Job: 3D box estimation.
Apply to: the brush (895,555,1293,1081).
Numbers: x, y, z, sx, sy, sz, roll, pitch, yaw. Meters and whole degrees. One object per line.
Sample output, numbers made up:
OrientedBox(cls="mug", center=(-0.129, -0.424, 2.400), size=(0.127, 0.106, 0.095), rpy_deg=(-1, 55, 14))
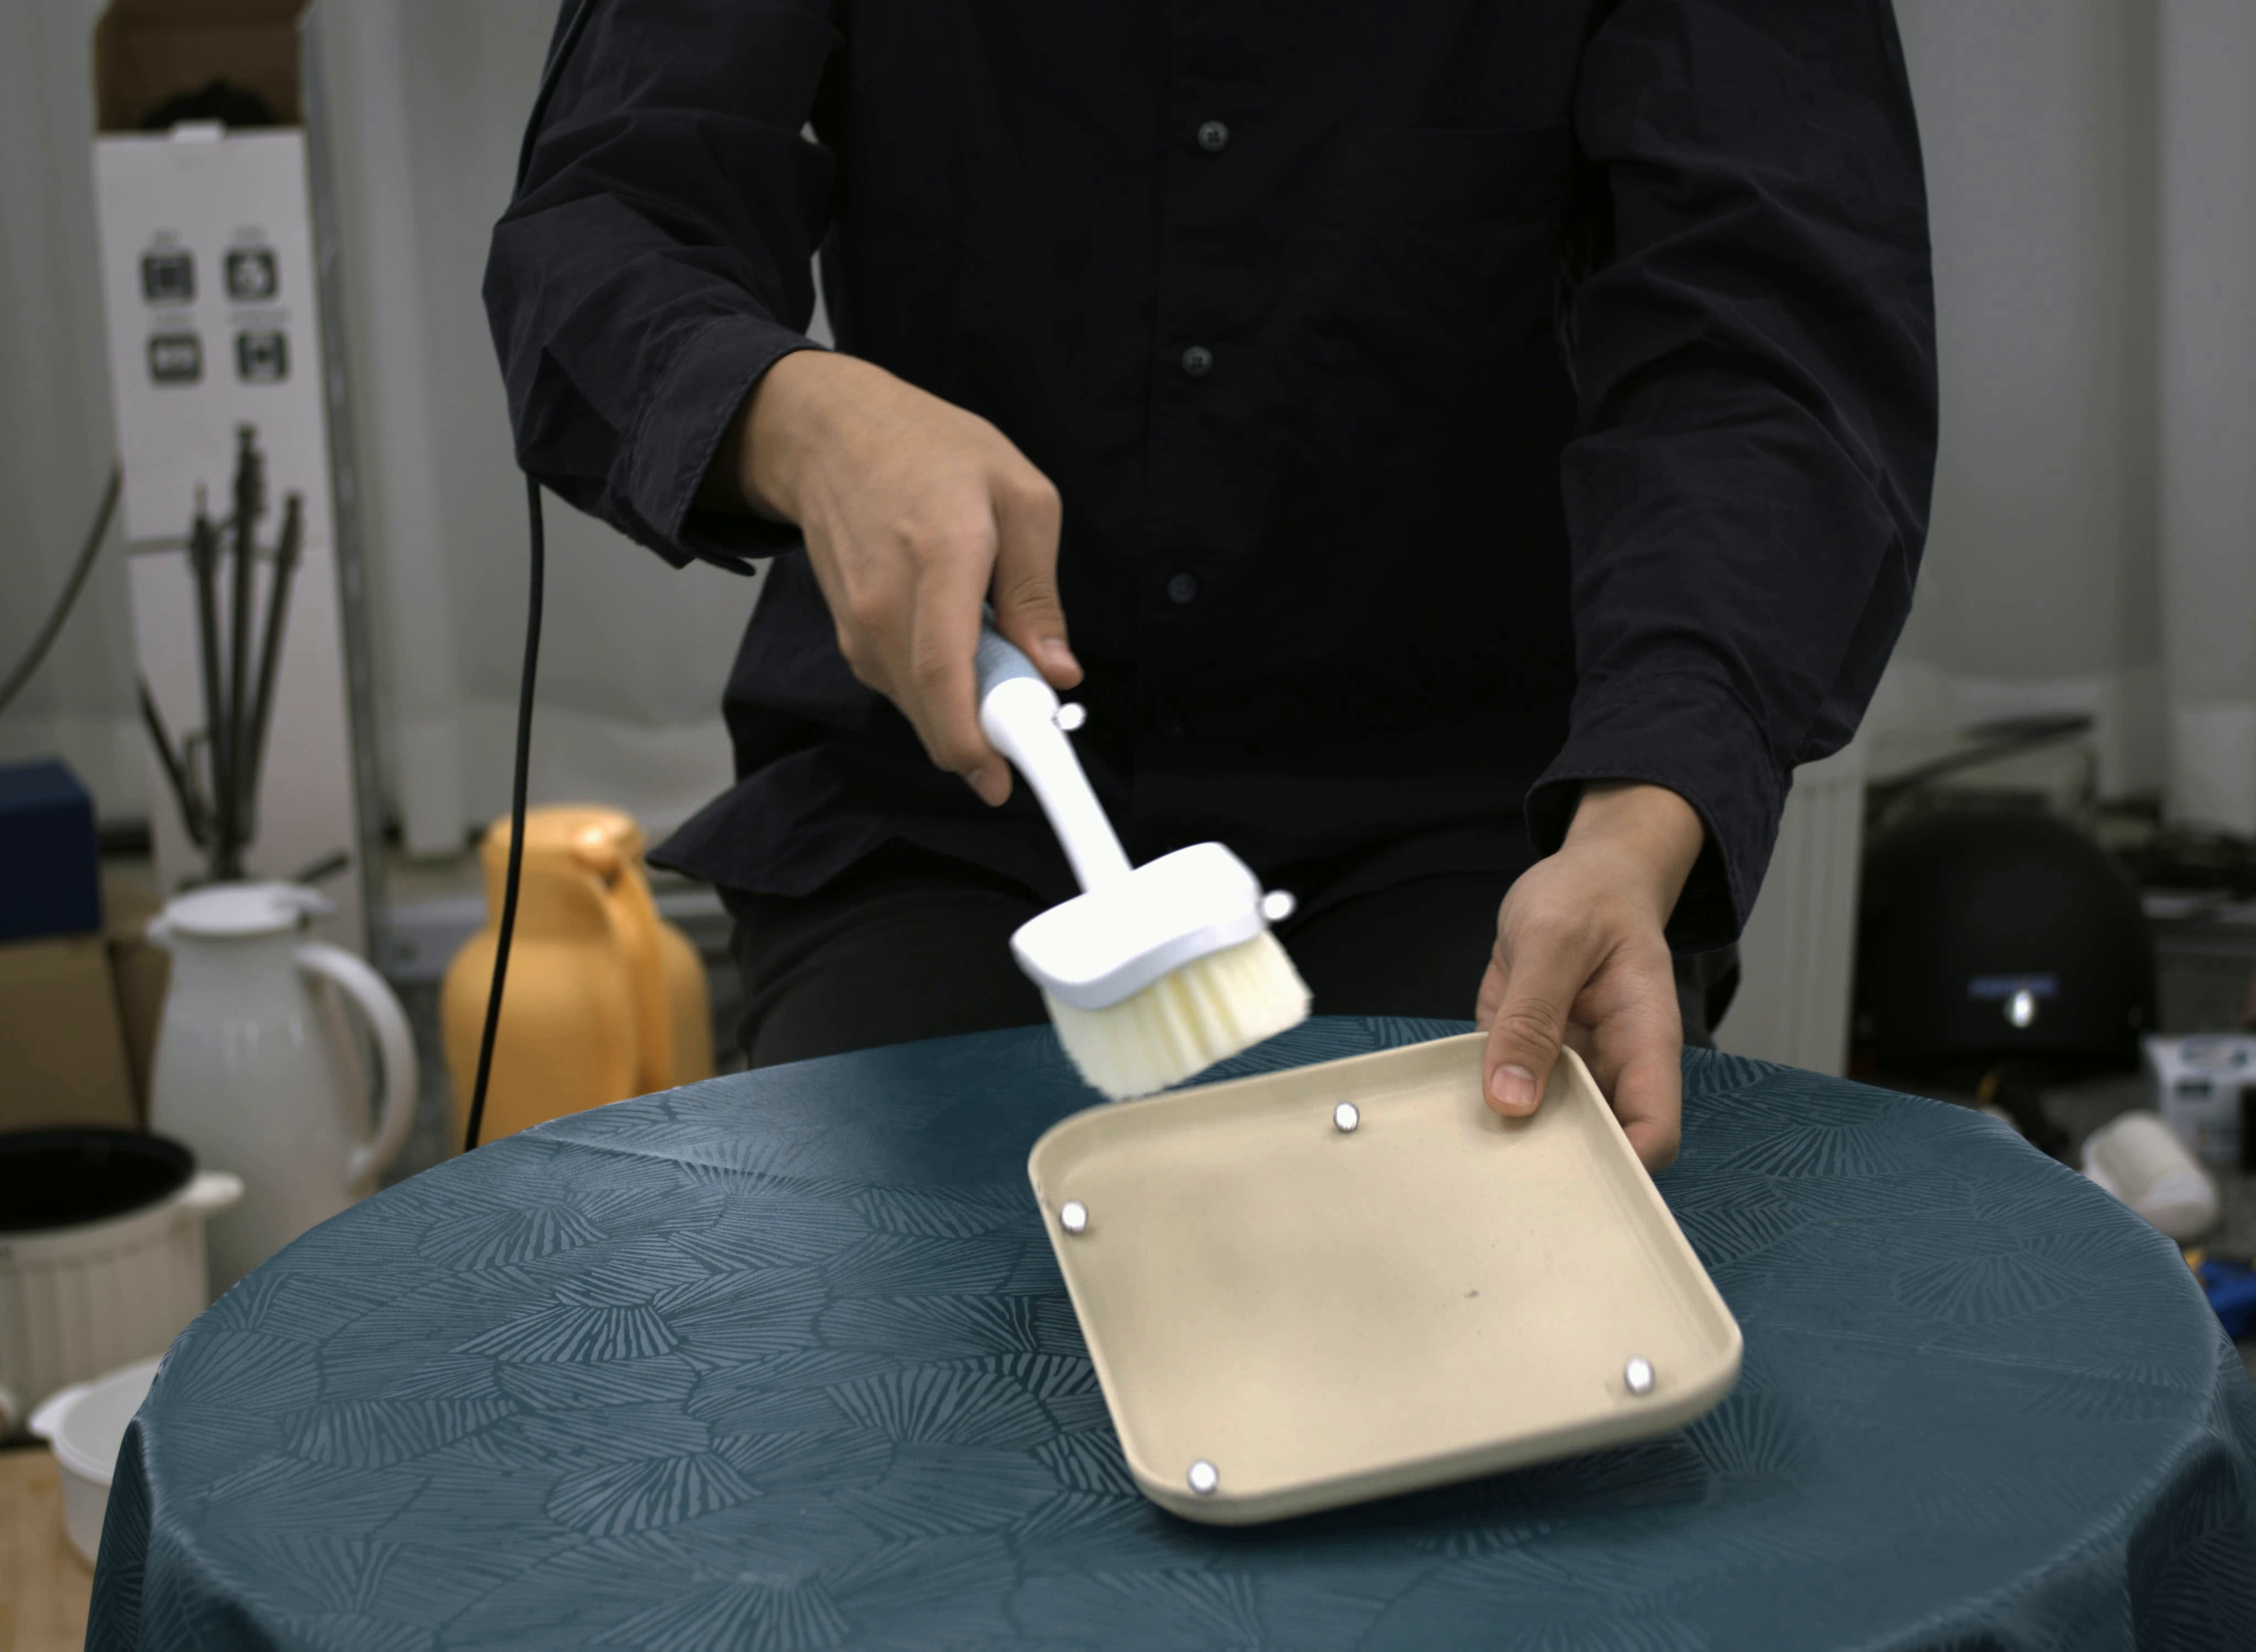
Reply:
OrientedBox(cls="brush", center=(-0.011, 0.005, 1.632), size=(0.082, 0.084, 0.329), rpy_deg=(11, 16, -17))

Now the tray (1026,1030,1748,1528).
OrientedBox(cls="tray", center=(0.069, 0.126, 1.545), size=(0.170, 0.017, 0.242), rpy_deg=(-10, 24, -6))
